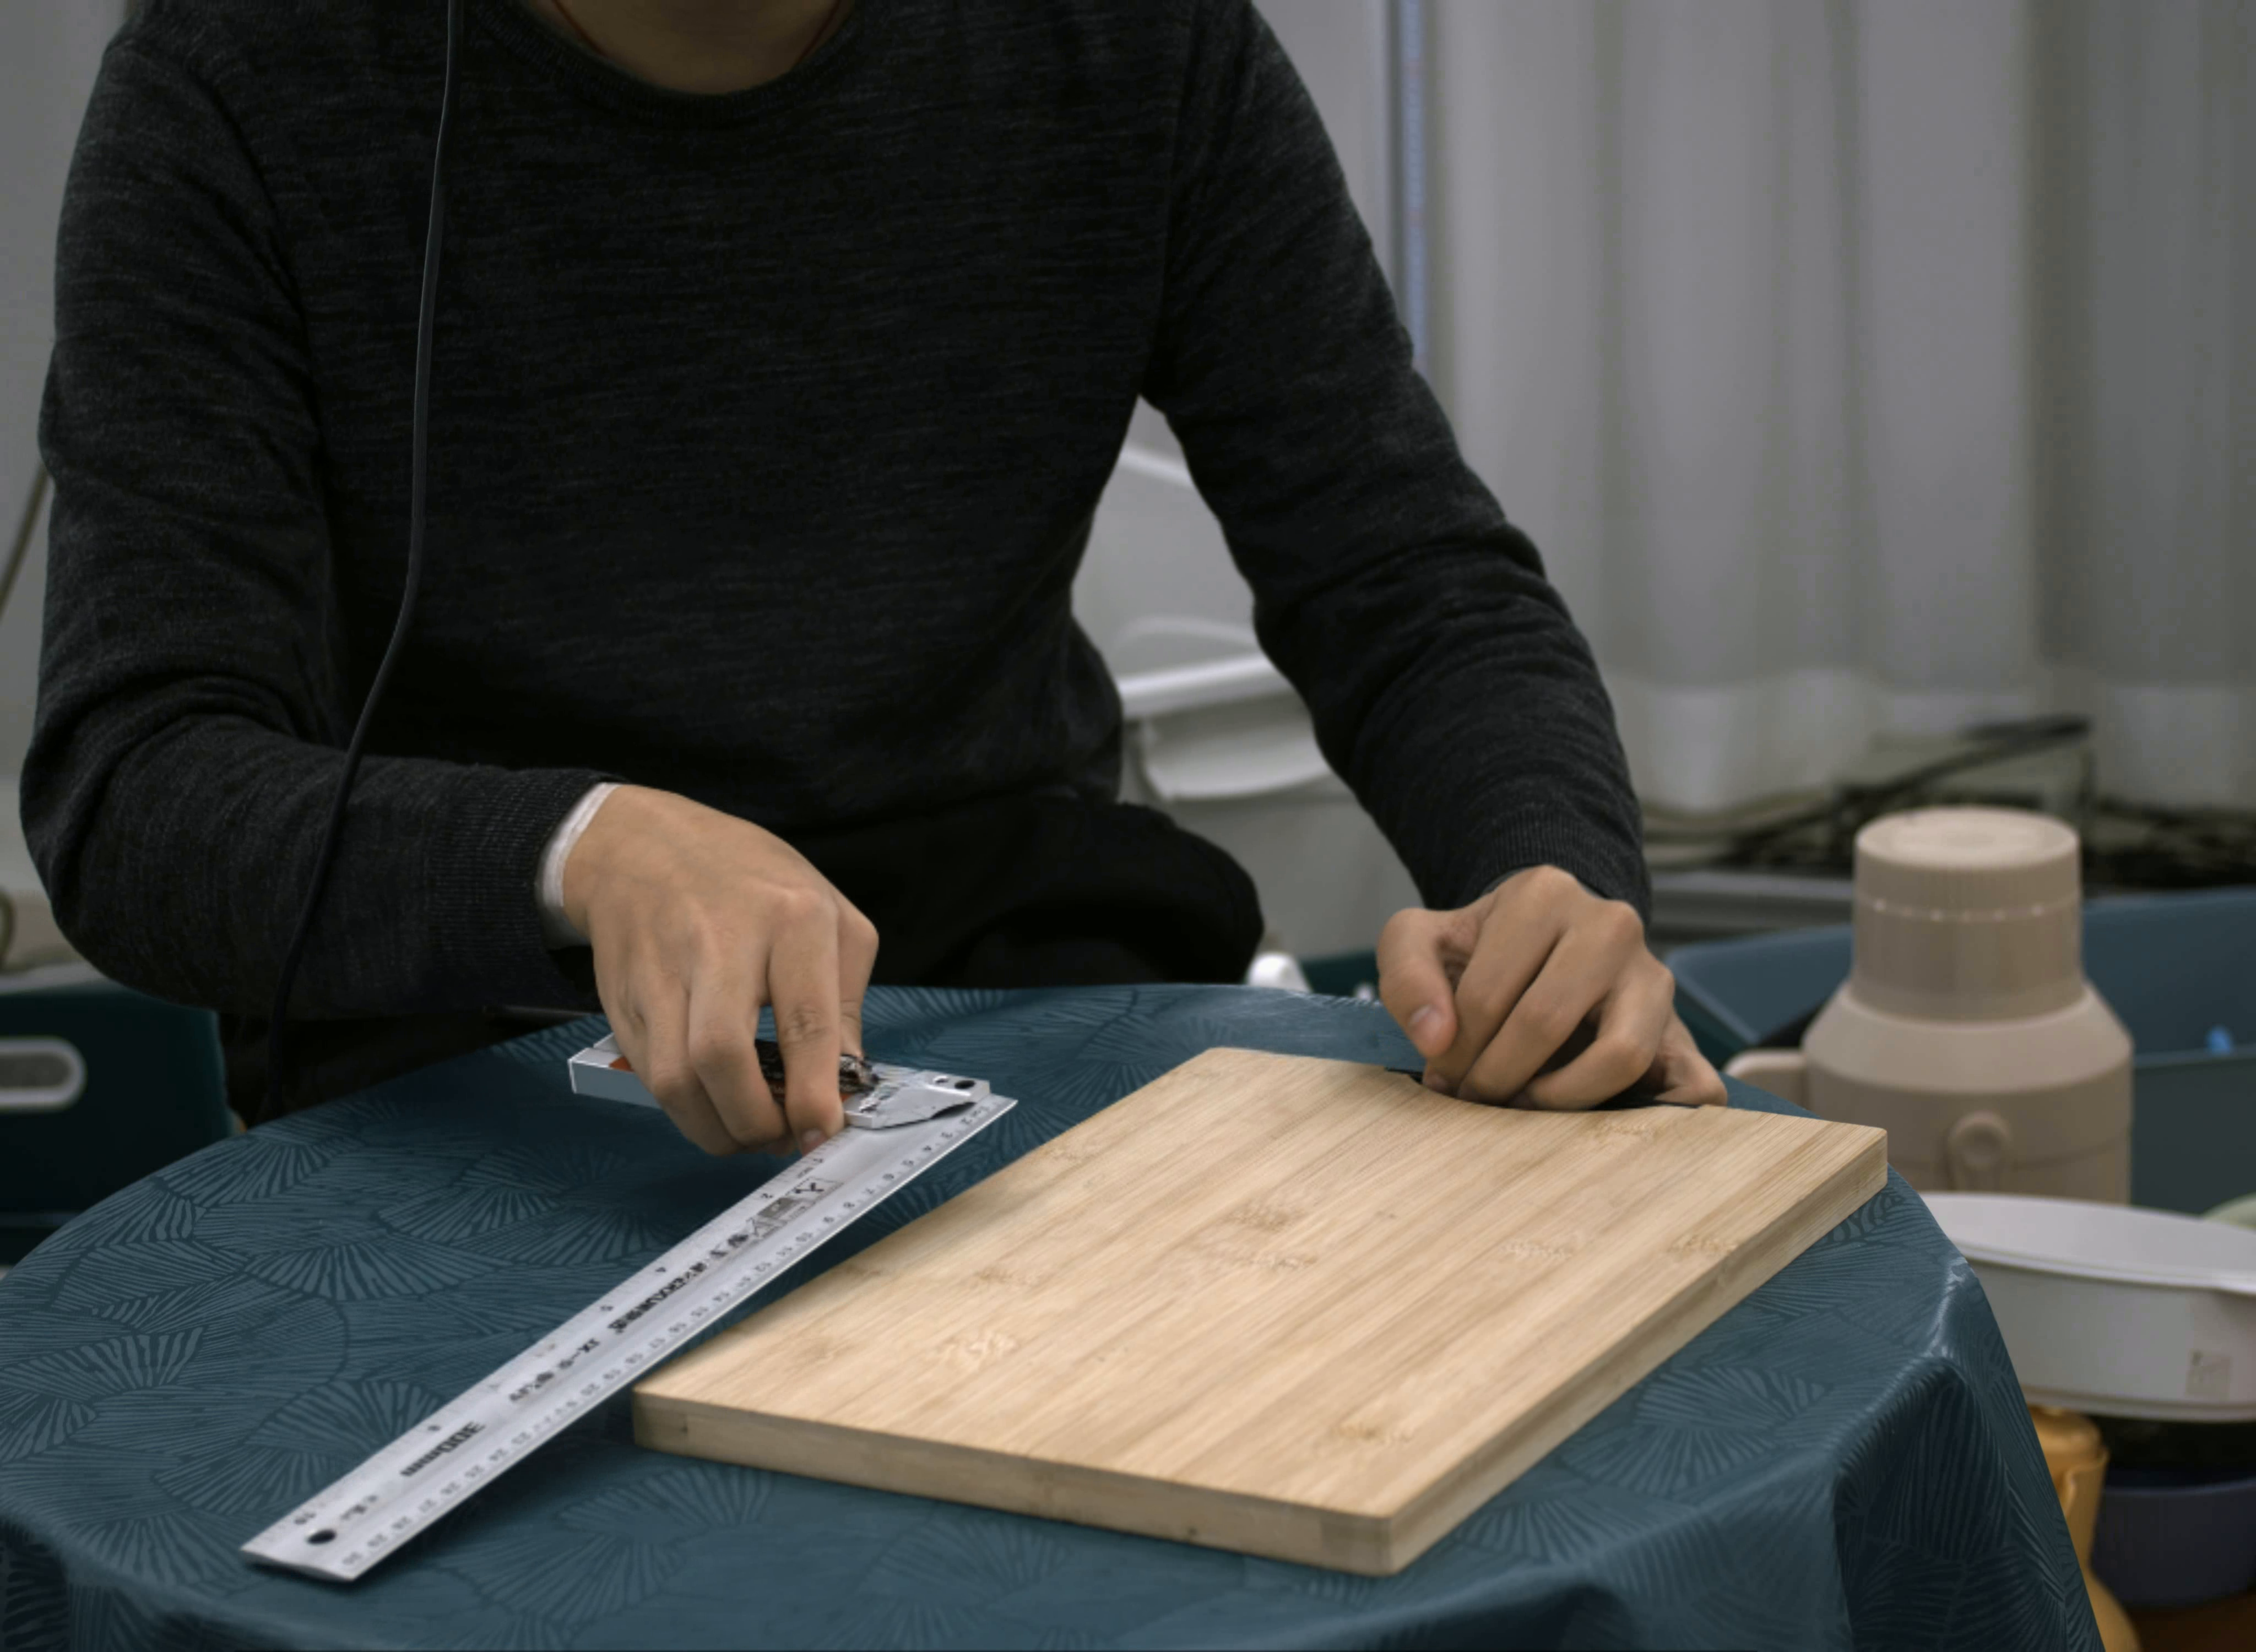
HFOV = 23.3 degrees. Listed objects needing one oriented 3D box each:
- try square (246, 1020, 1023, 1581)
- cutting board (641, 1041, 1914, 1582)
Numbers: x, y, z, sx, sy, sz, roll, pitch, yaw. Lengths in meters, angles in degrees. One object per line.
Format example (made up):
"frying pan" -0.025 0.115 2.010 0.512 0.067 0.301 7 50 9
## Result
"try square" -0.177 0.131 1.585 0.153 0.016 0.314 7 26 34
"cutting board" 0.052 0.133 1.605 0.251 0.023 0.349 6 17 29
